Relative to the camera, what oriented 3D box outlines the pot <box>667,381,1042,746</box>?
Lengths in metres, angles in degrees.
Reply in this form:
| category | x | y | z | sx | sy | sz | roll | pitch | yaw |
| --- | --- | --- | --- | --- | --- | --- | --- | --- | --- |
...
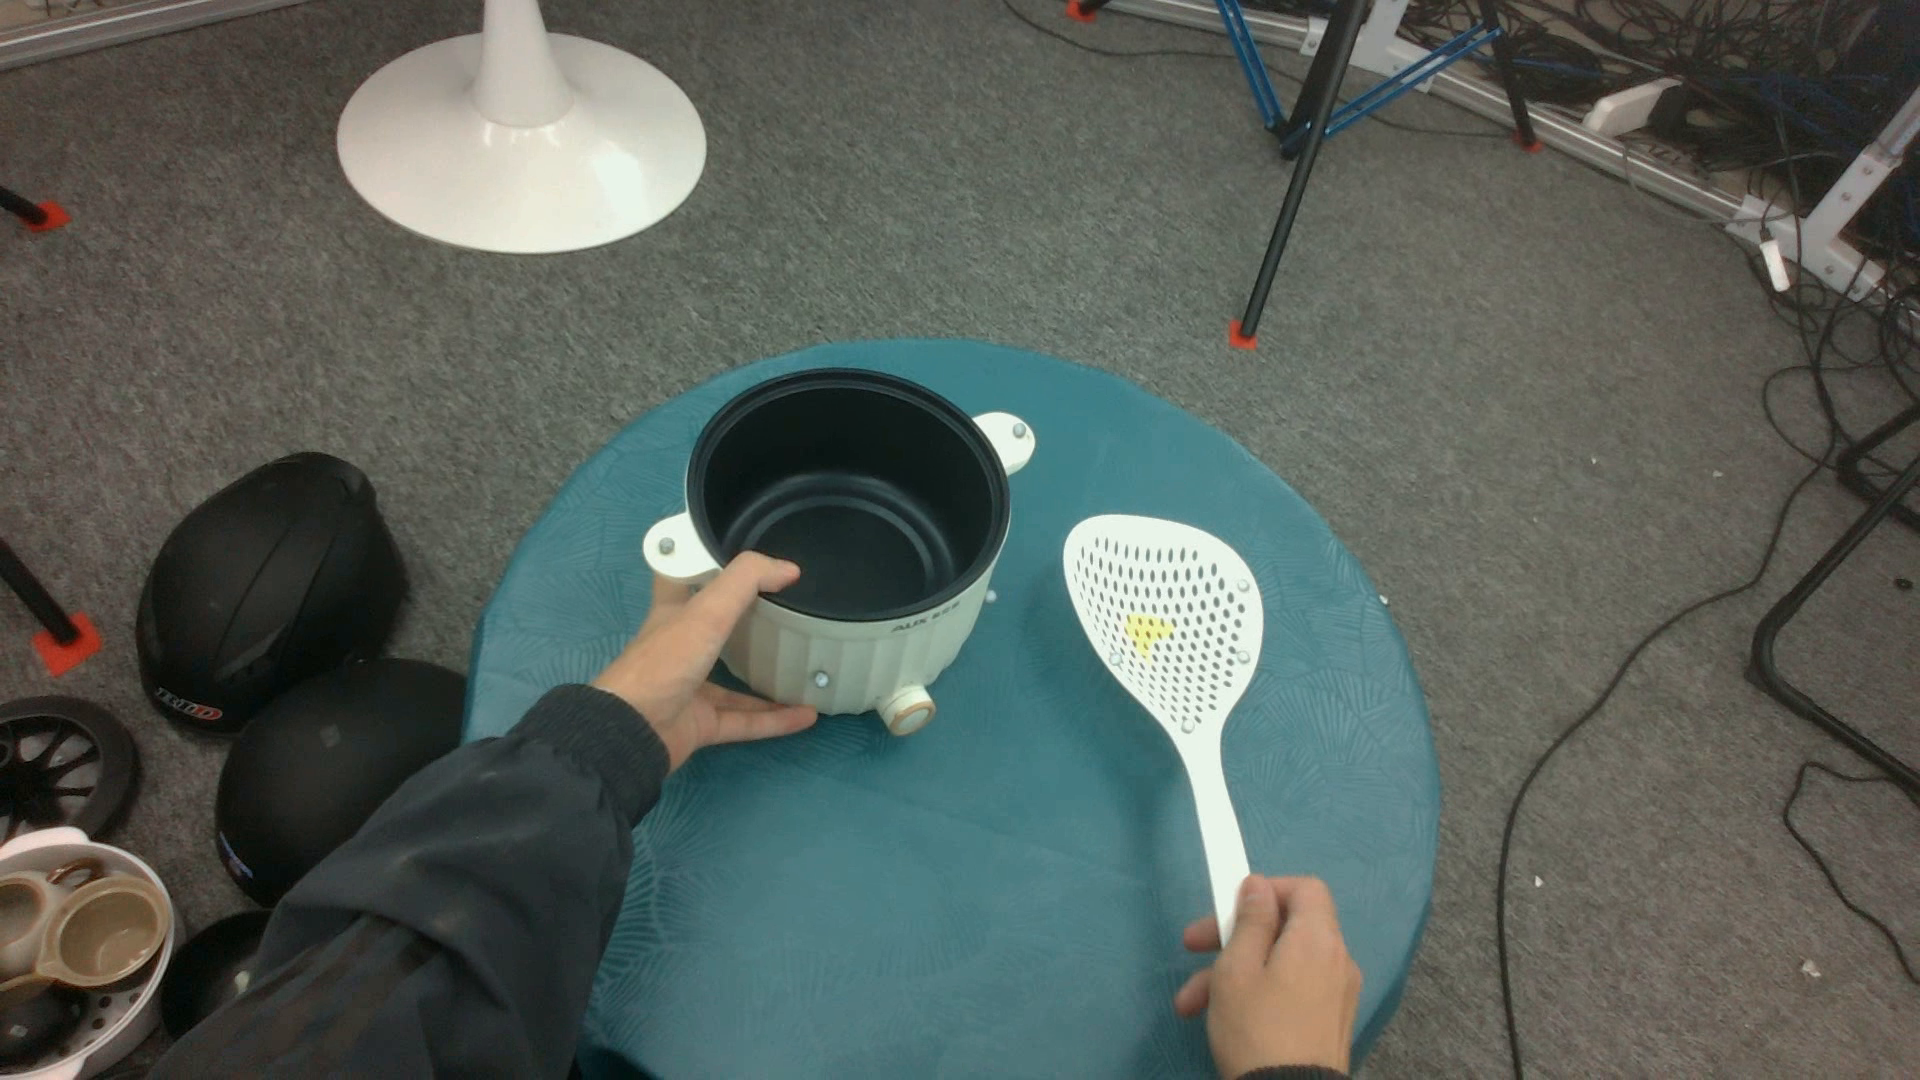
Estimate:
| category | x | y | z | sx | sy | sz | roll | pitch | yaw |
| --- | --- | --- | --- | --- | --- | --- | --- | --- | --- |
| pot | -0.056 | 0.021 | 0.828 | 0.241 | 0.142 | 0.191 | -24 | 56 | -23 |

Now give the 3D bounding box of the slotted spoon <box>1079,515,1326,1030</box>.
| category | x | y | z | sx | sy | sz | roll | pitch | yaw |
| --- | --- | --- | --- | --- | --- | --- | --- | --- | --- |
| slotted spoon | 0.156 | 0.117 | 0.818 | 0.137 | 0.050 | 0.349 | -1 | 42 | -9 |
